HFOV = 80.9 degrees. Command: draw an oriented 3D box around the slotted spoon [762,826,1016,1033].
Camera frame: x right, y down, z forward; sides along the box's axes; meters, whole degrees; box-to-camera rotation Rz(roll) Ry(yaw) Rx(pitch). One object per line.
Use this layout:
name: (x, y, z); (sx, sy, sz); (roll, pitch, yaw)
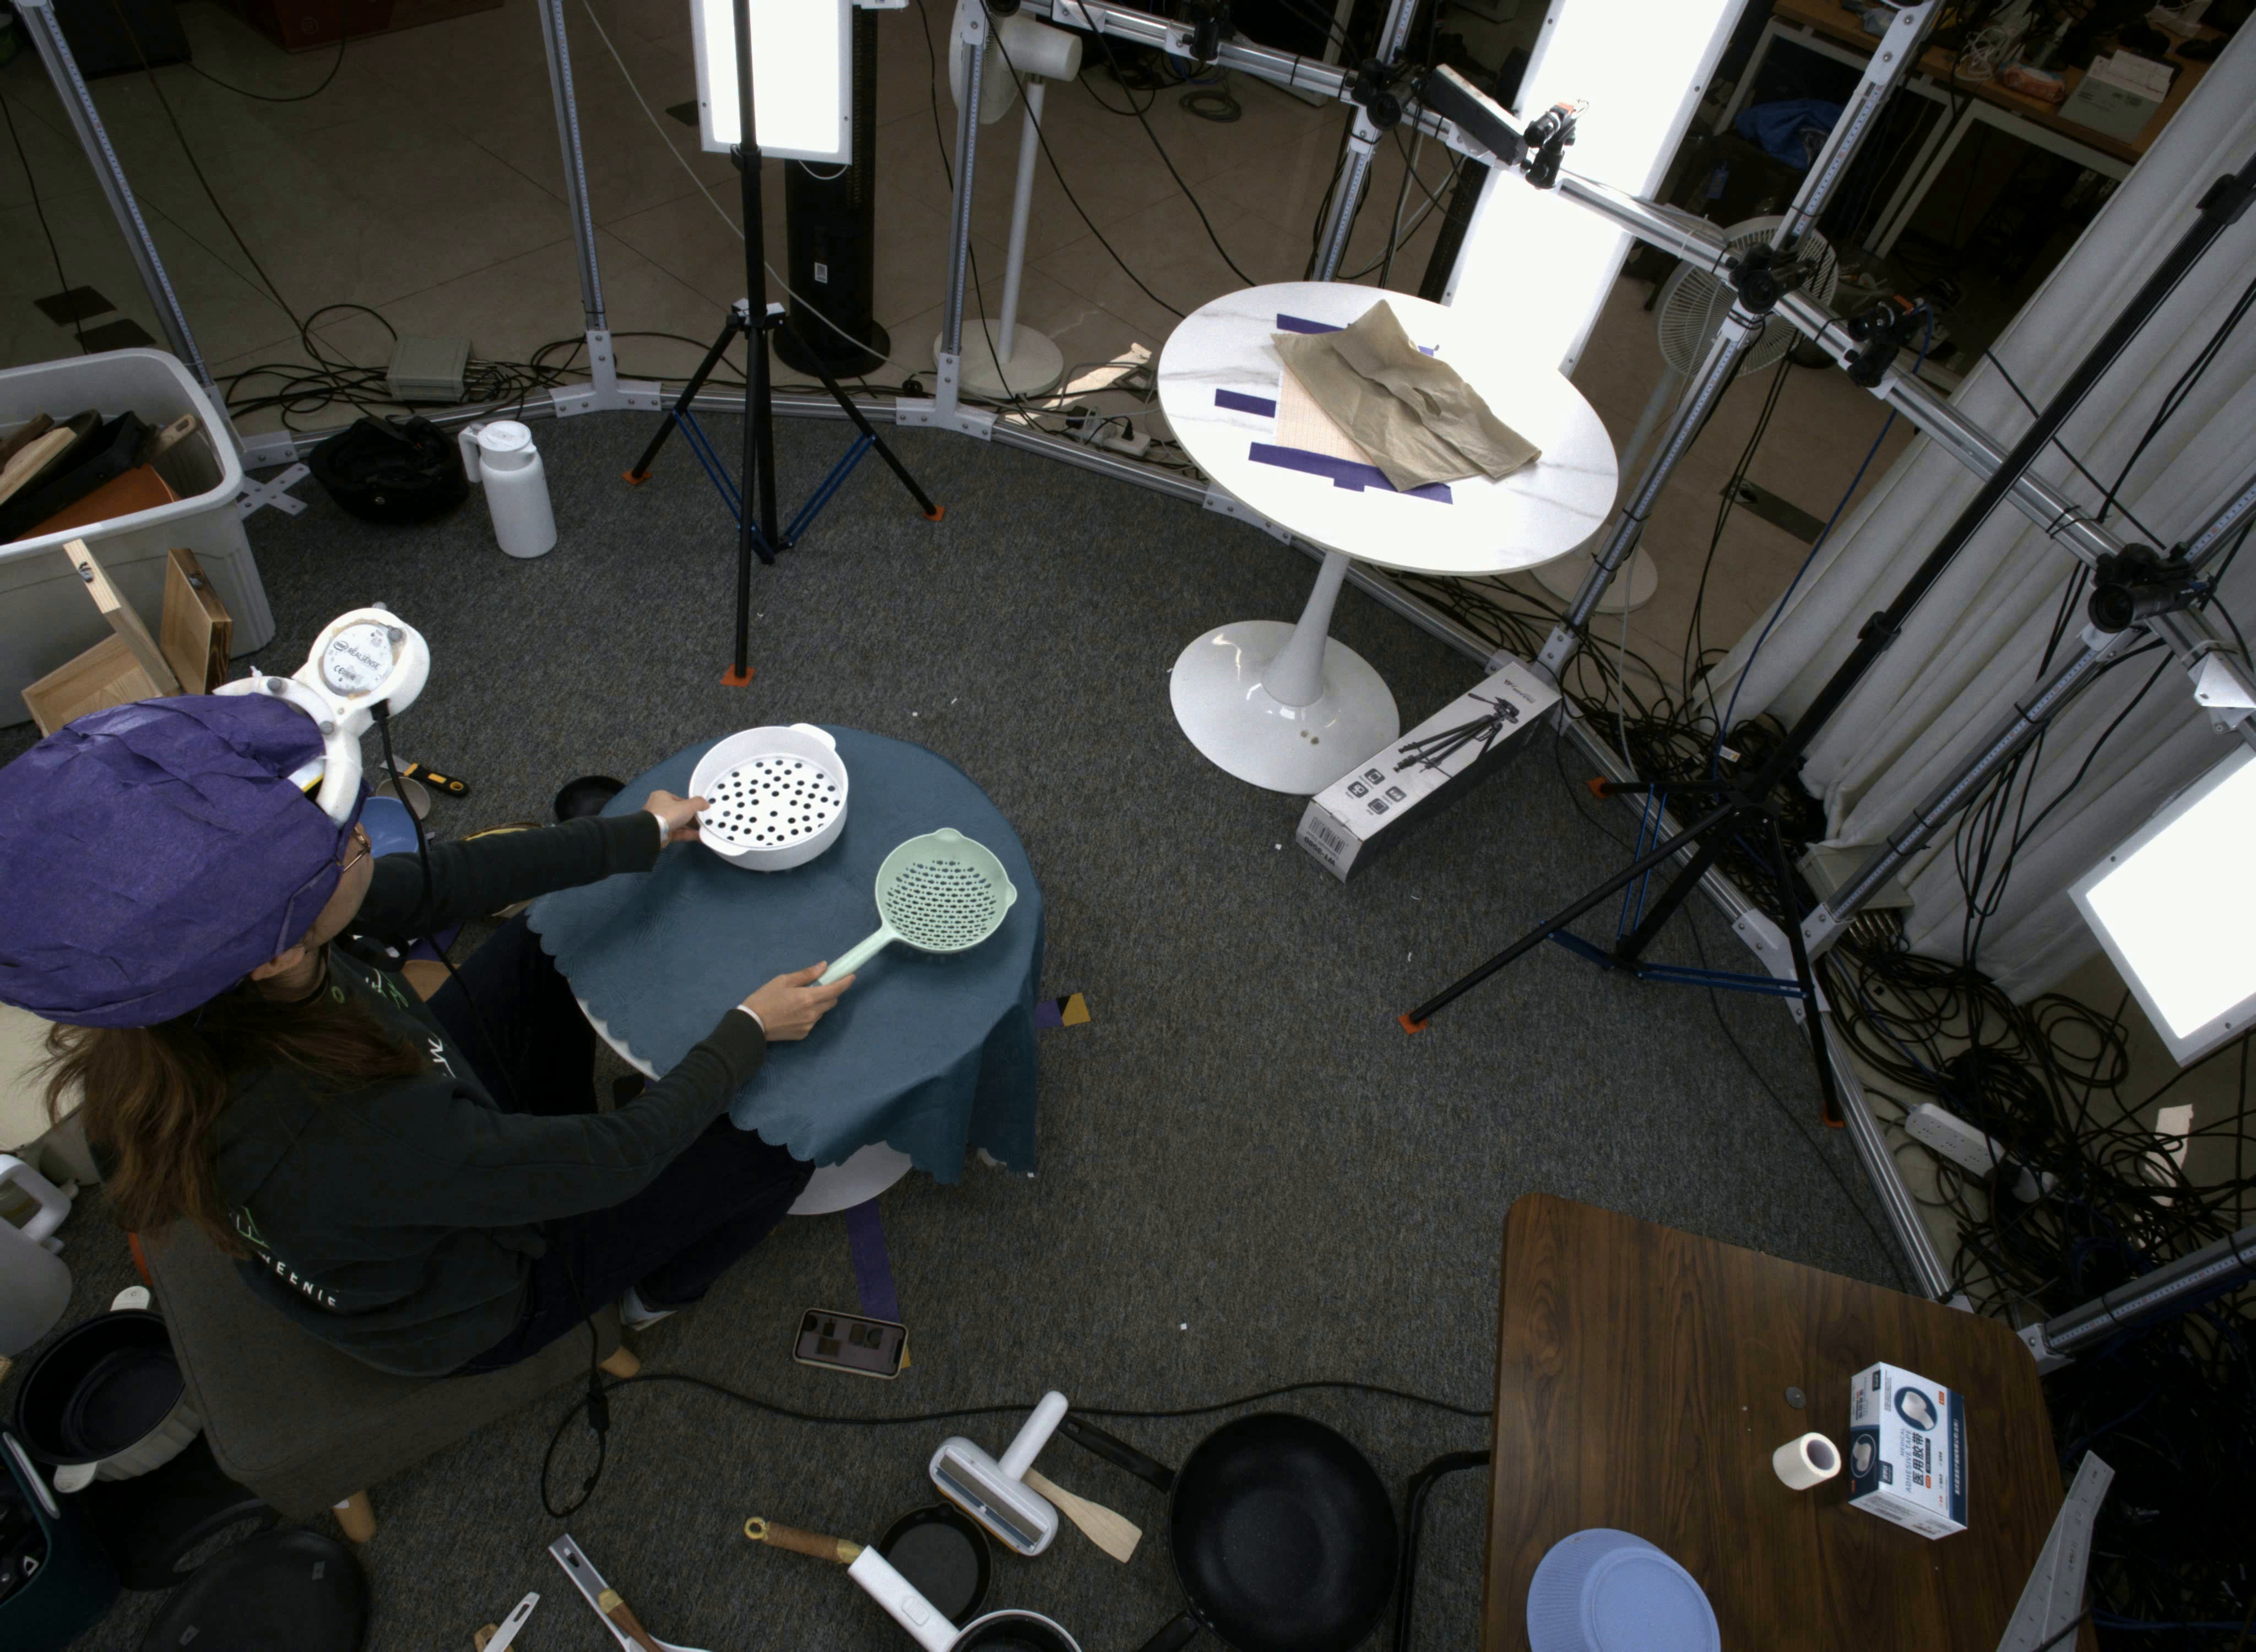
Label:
slotted spoon: (-0.302, 0.136, 1.606); (0.166, 0.076, 0.360); (44, 50, 14)

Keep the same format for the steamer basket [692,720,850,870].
steamer basket: (-0.465, -0.037, 1.699); (0.198, 0.071, 0.229); (24, 56, 9)
